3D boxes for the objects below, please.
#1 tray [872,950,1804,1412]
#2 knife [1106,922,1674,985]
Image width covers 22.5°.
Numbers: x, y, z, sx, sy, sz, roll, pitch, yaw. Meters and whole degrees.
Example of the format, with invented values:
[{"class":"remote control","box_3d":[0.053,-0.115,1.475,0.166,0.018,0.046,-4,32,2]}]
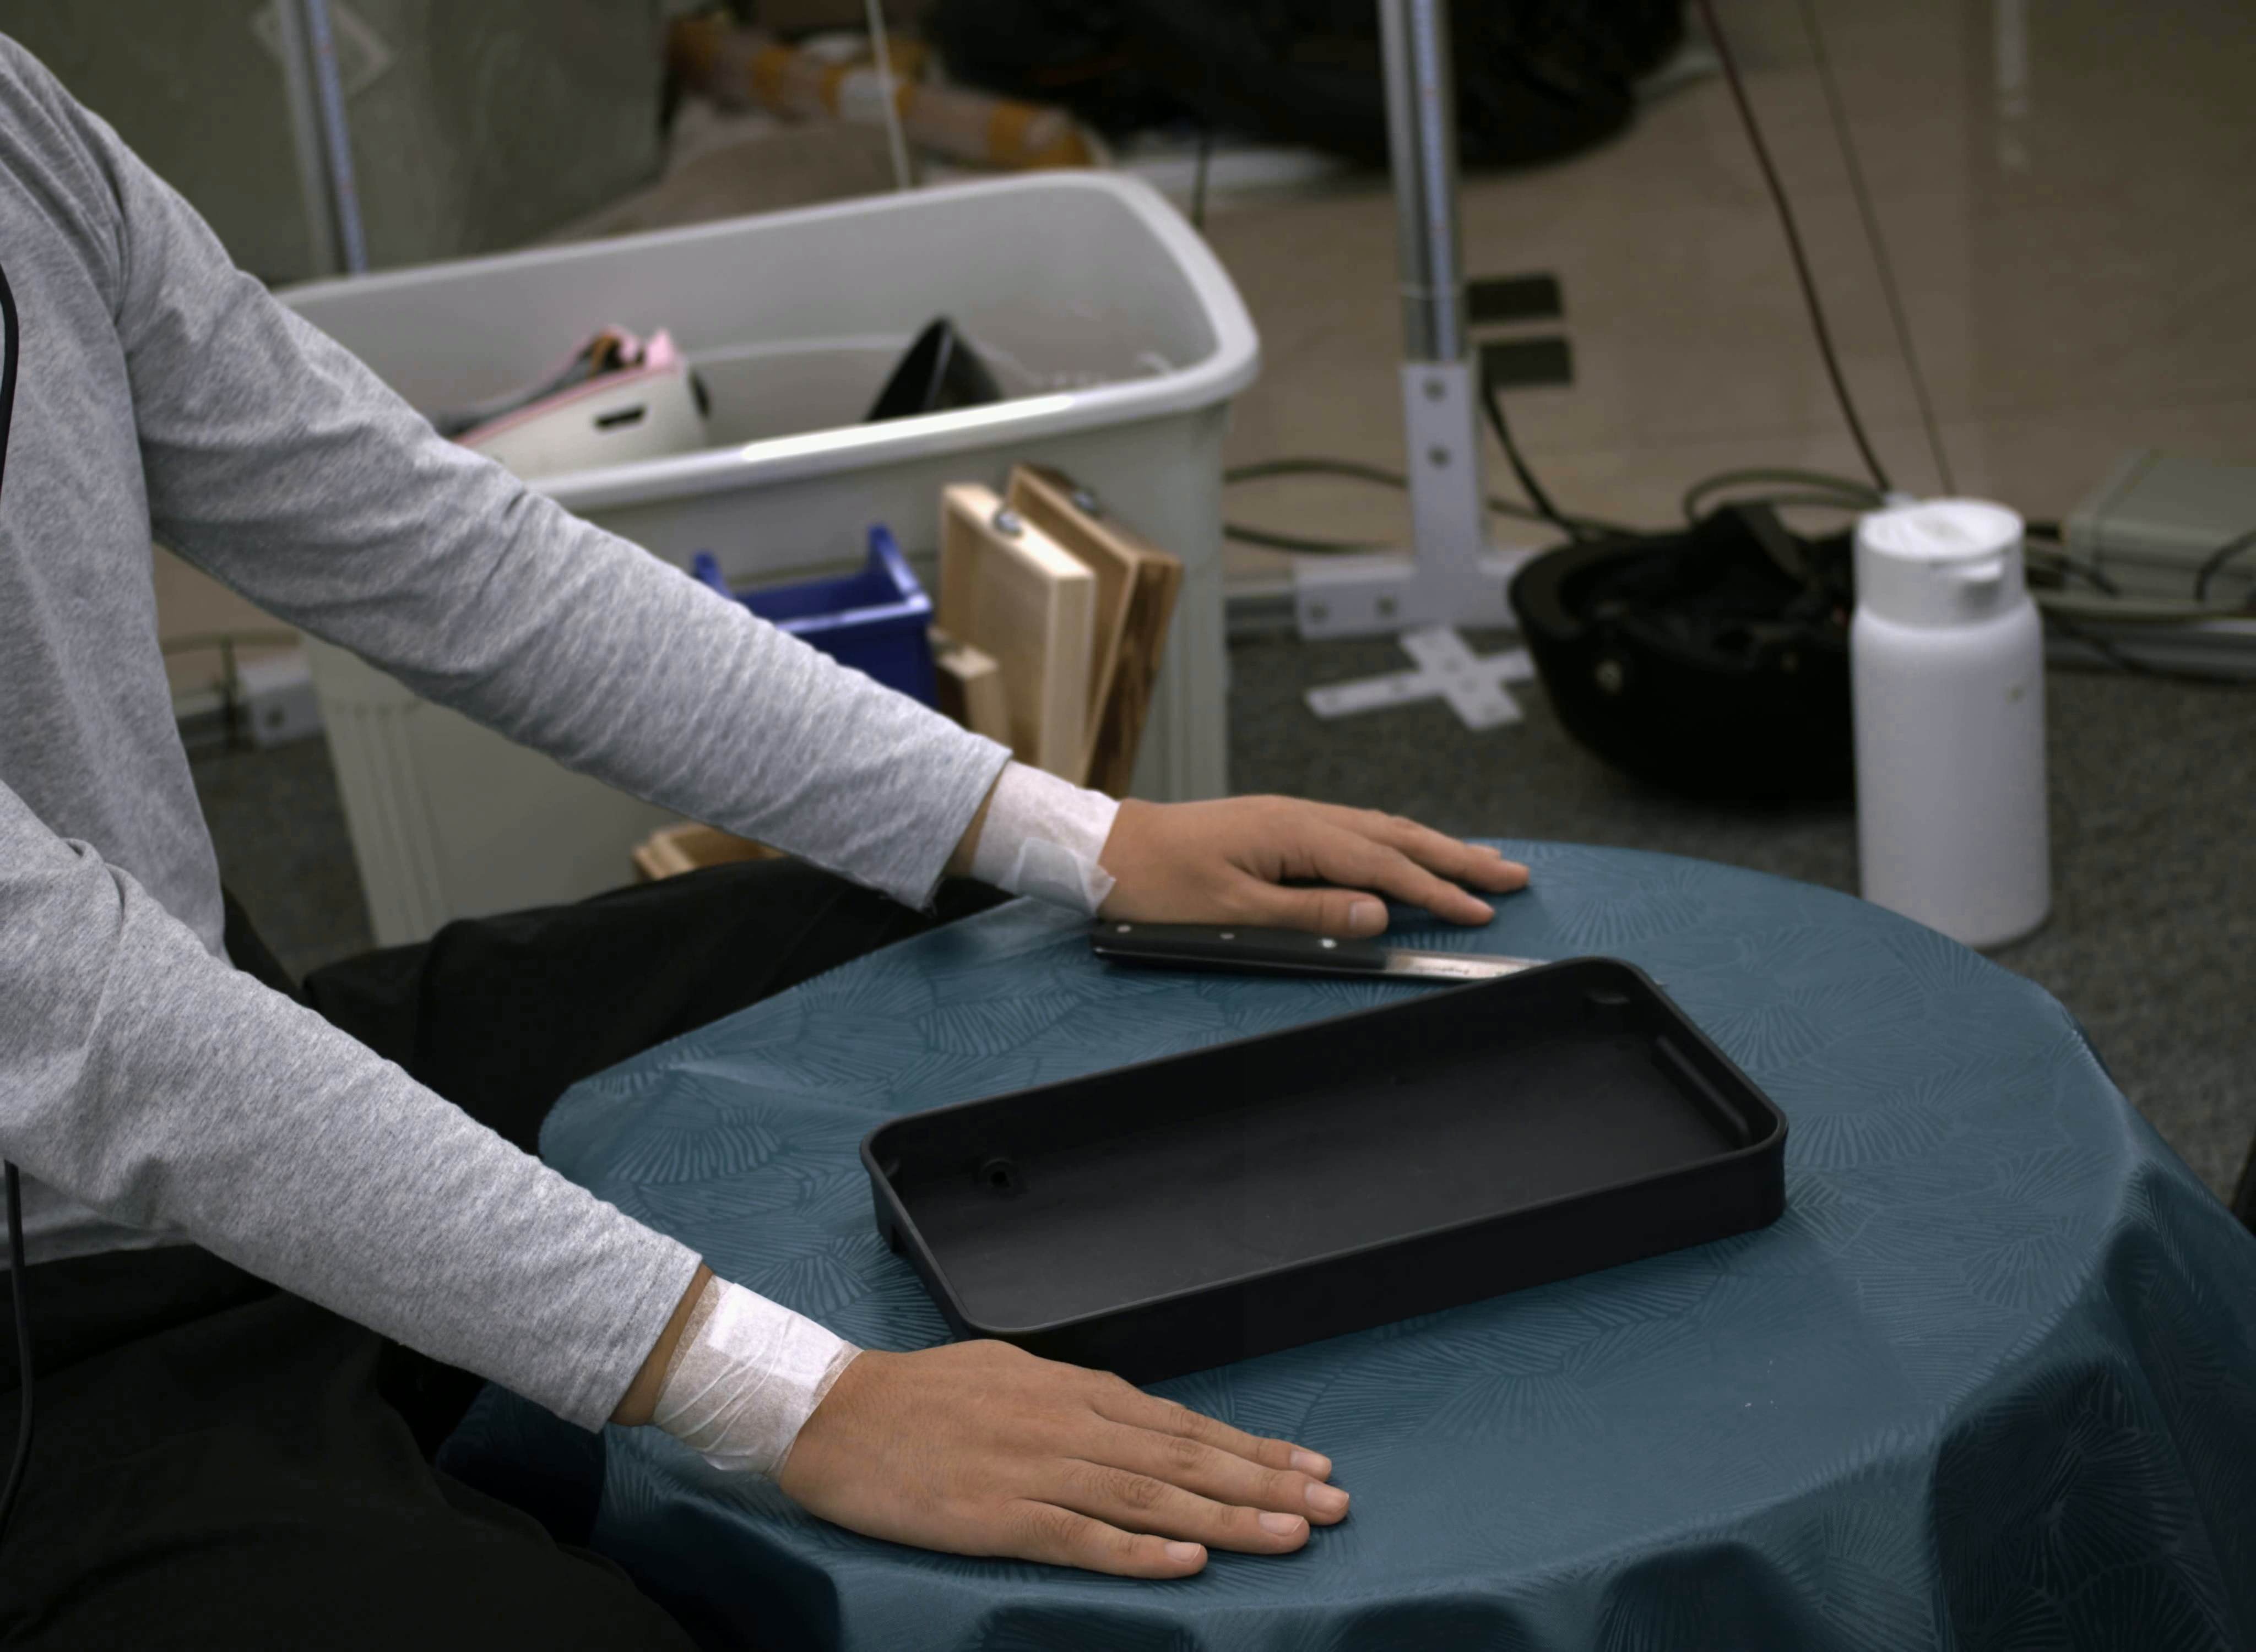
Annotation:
[{"class":"tray","box_3d":[0.077,0.128,2.113,0.317,0.037,0.182,-14,25,-14]},{"class":"knife","box_3d":[0.103,0.055,2.294,0.237,0.016,0.024,4,28,16]}]
